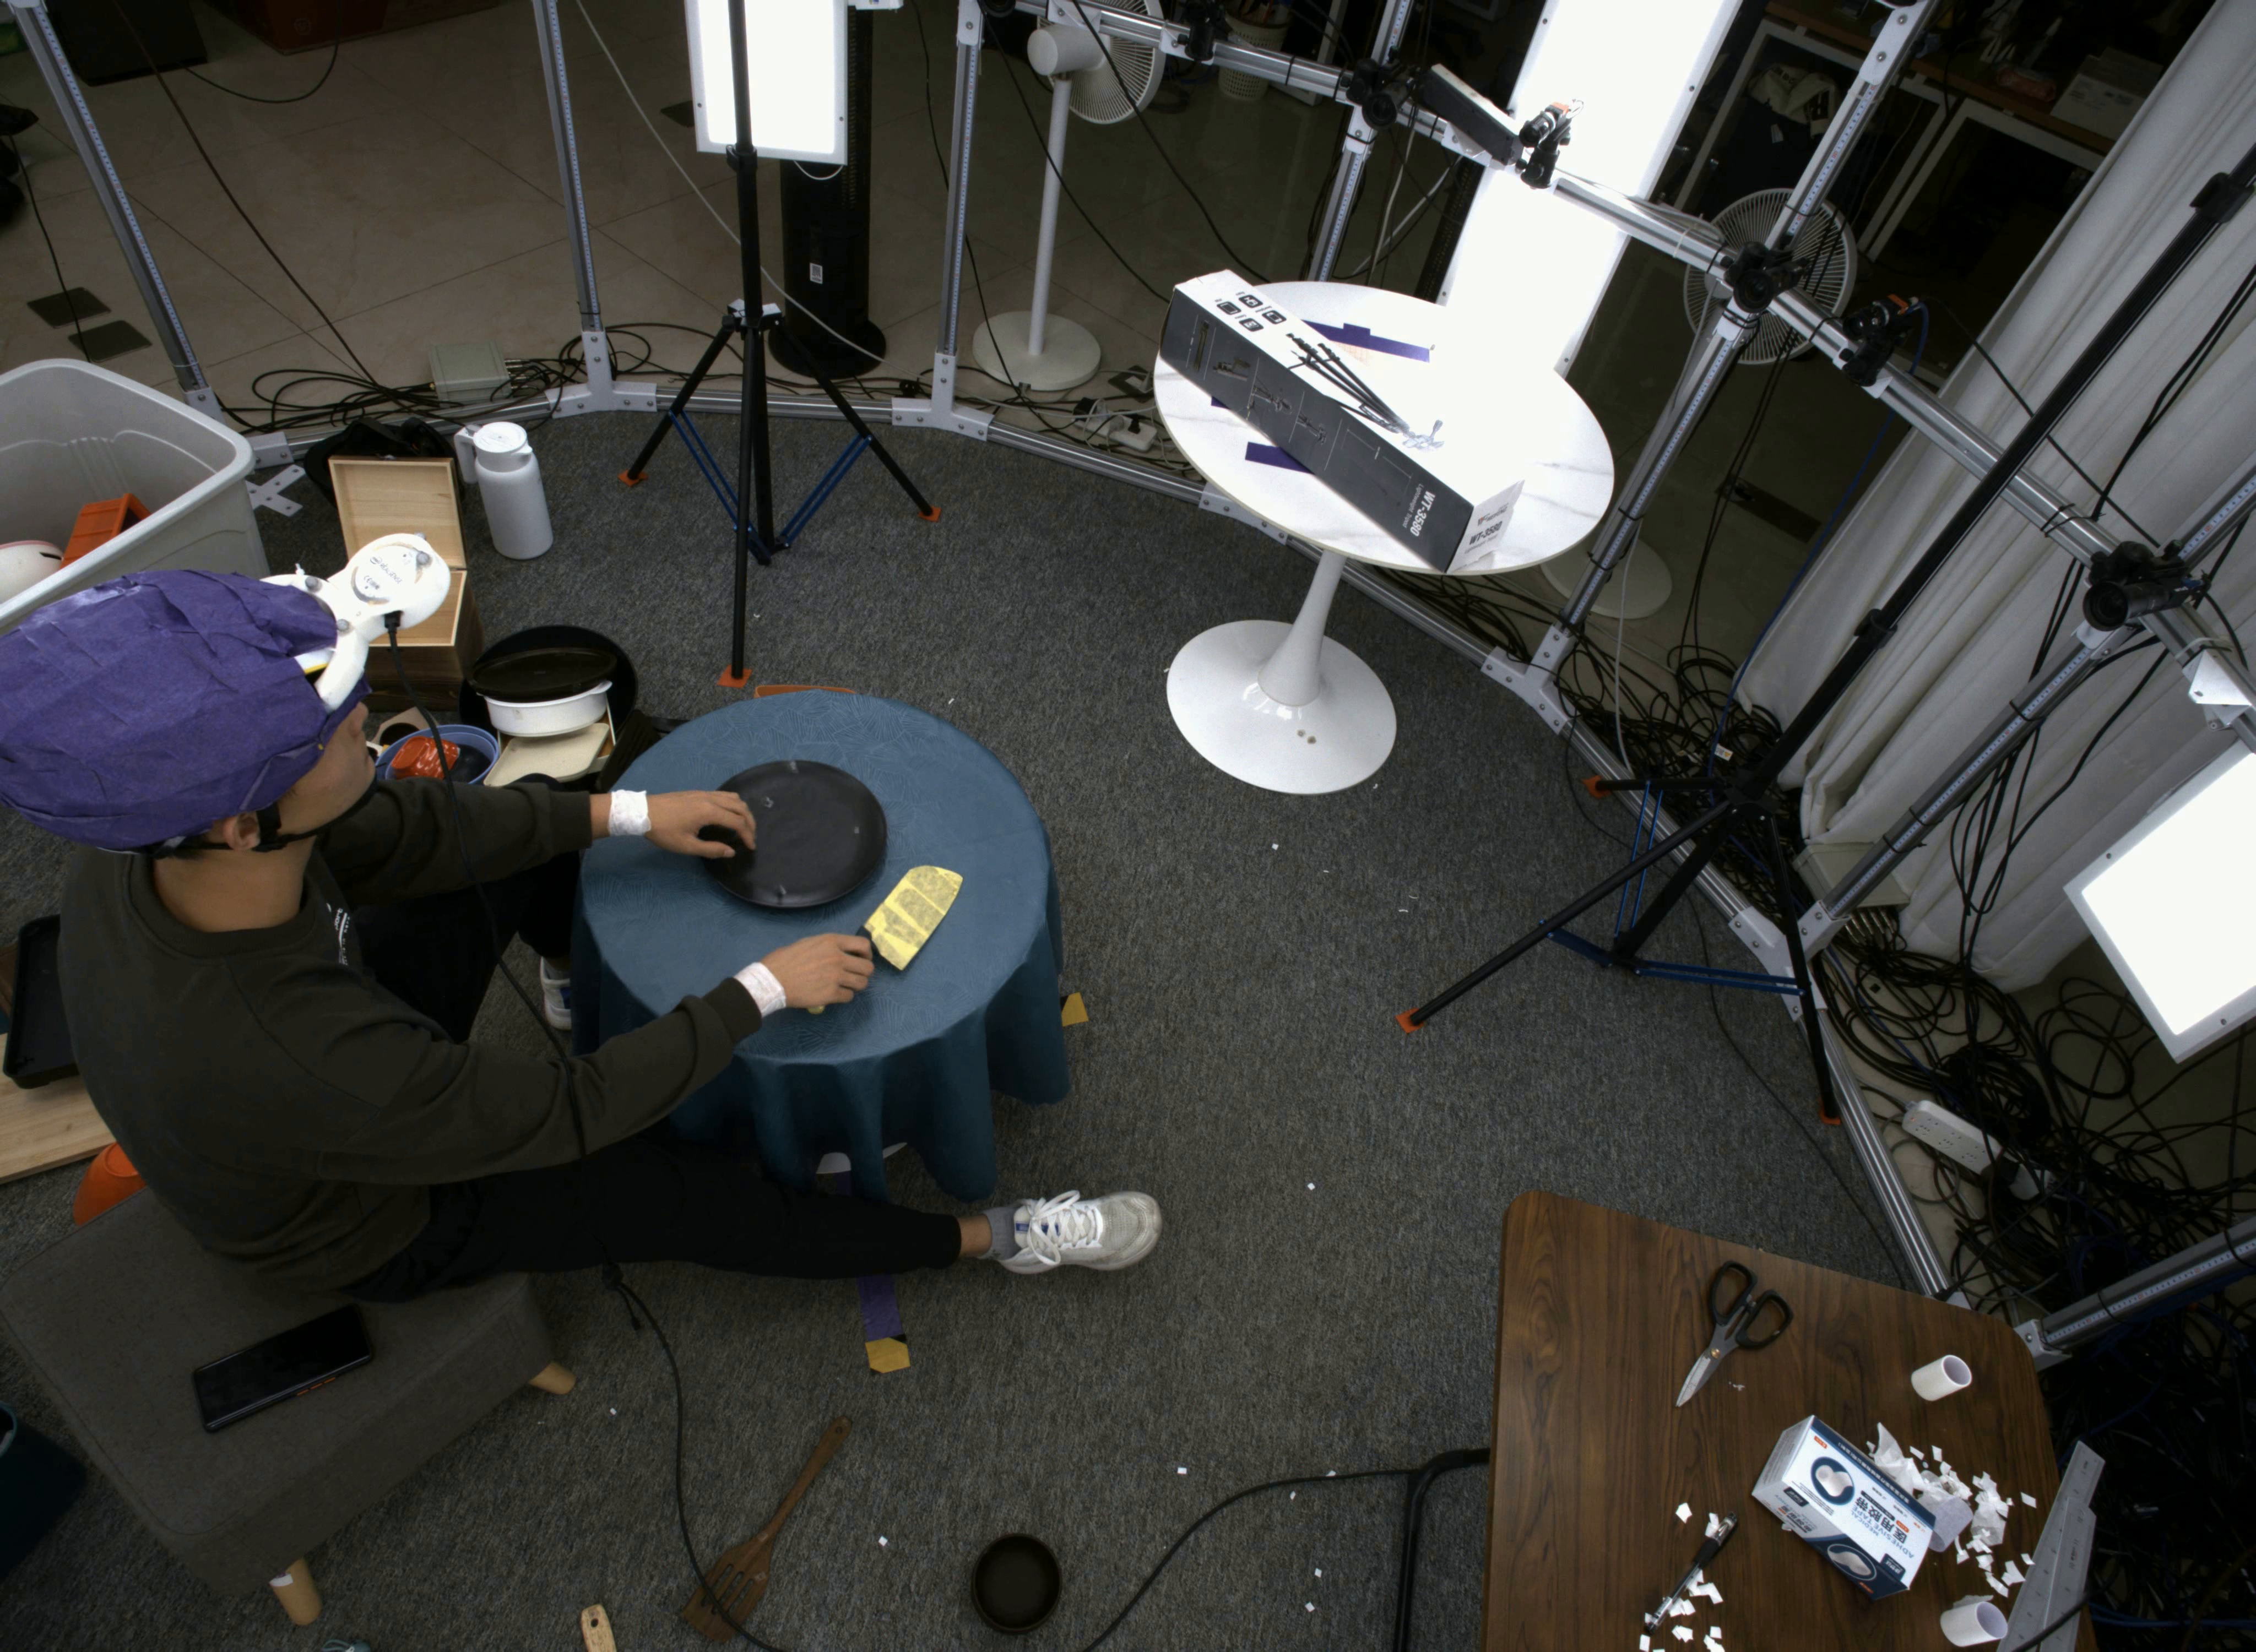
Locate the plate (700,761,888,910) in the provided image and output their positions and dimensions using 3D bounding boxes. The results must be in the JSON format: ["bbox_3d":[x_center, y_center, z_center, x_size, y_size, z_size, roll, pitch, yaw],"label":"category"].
[{"bbox_3d":[-0.439,0.012,1.707,0.244,0.024,0.240,8,53,-9],"label":"plate"}]

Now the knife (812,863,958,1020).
[{"bbox_3d":[-0.299,0.141,1.635,0.081,0.027,0.288,40,49,-4],"label":"knife"}]
